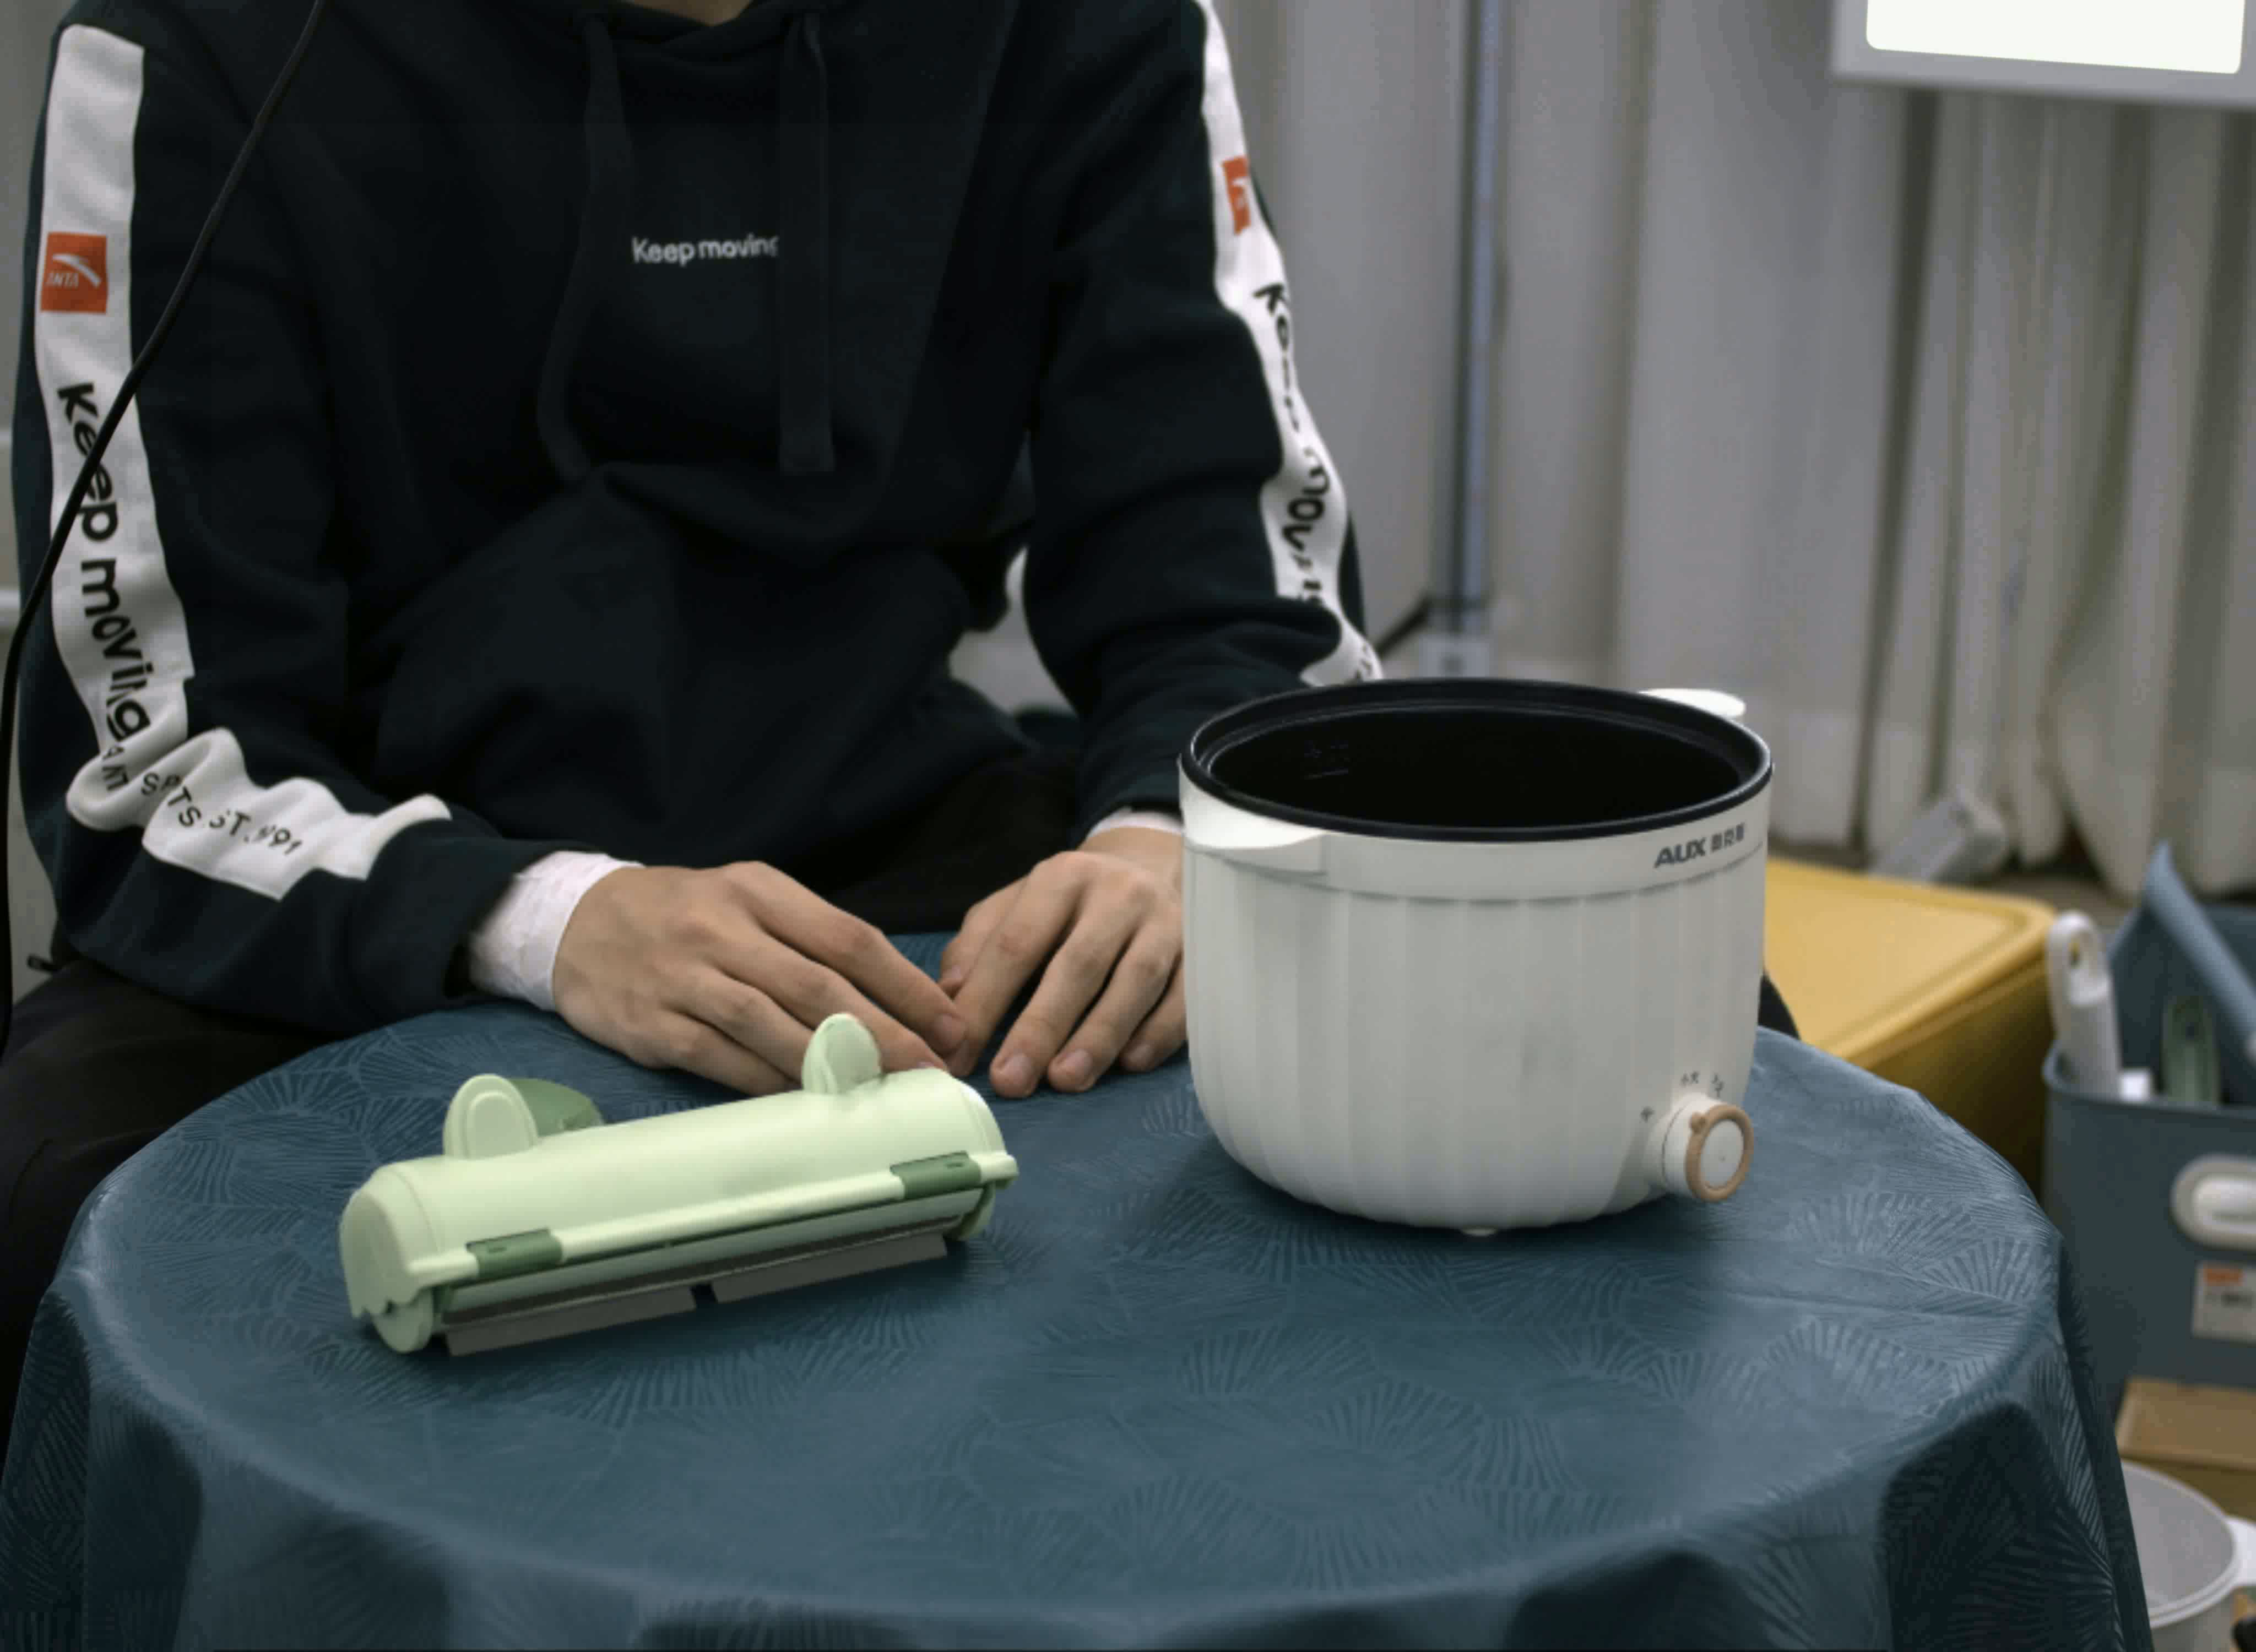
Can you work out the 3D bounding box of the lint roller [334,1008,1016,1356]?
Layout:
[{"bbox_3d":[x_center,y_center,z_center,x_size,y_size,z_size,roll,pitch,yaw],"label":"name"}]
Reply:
[{"bbox_3d":[-0.158,0.086,1.567,0.199,0.083,0.181,-9,24,-30],"label":"lint roller"}]

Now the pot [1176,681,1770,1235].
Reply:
[{"bbox_3d":[0.110,0.041,1.620,0.188,0.144,0.241,11,20,43],"label":"pot"}]
